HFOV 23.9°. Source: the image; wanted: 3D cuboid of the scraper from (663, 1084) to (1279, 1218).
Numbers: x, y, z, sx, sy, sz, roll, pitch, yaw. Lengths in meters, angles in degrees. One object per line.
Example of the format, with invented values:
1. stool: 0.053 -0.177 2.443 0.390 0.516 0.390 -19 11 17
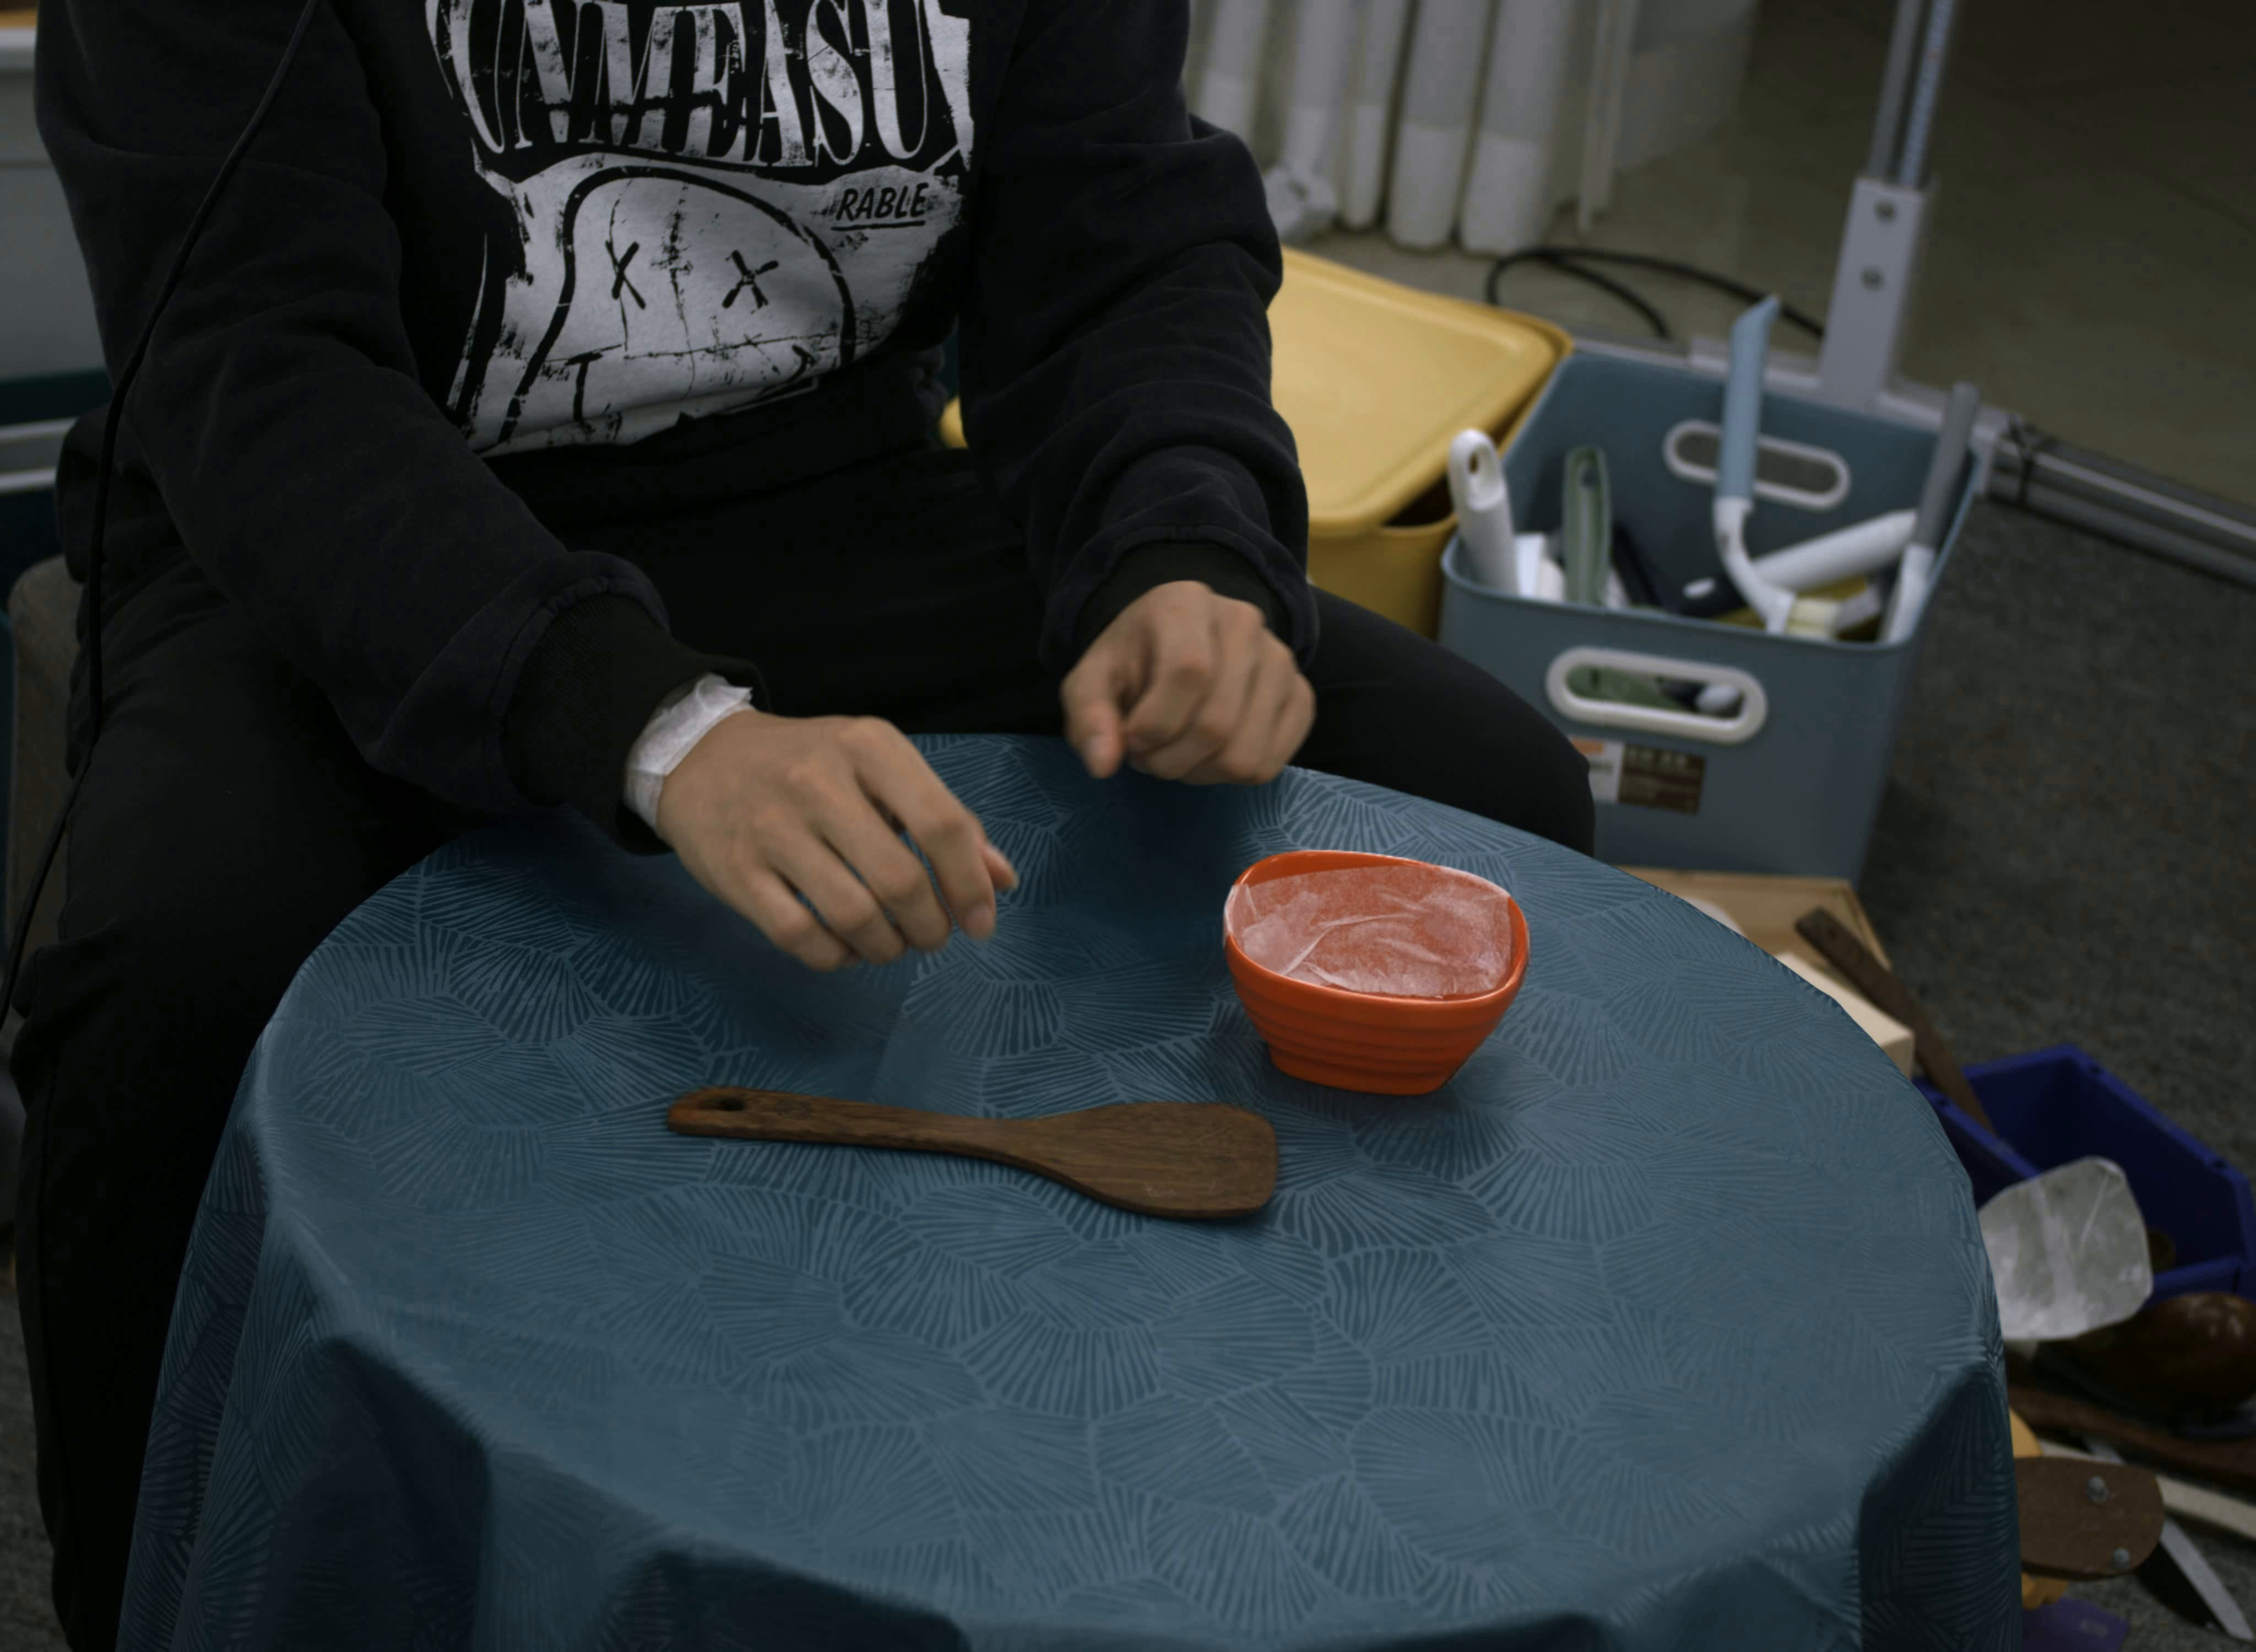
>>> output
1. scraper: -0.054 0.106 1.814 0.211 0.011 0.076 6 26 0

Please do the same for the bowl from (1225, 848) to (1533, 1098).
1. bowl: 0.086 0.057 1.896 0.118 0.051 0.119 6 29 -3
